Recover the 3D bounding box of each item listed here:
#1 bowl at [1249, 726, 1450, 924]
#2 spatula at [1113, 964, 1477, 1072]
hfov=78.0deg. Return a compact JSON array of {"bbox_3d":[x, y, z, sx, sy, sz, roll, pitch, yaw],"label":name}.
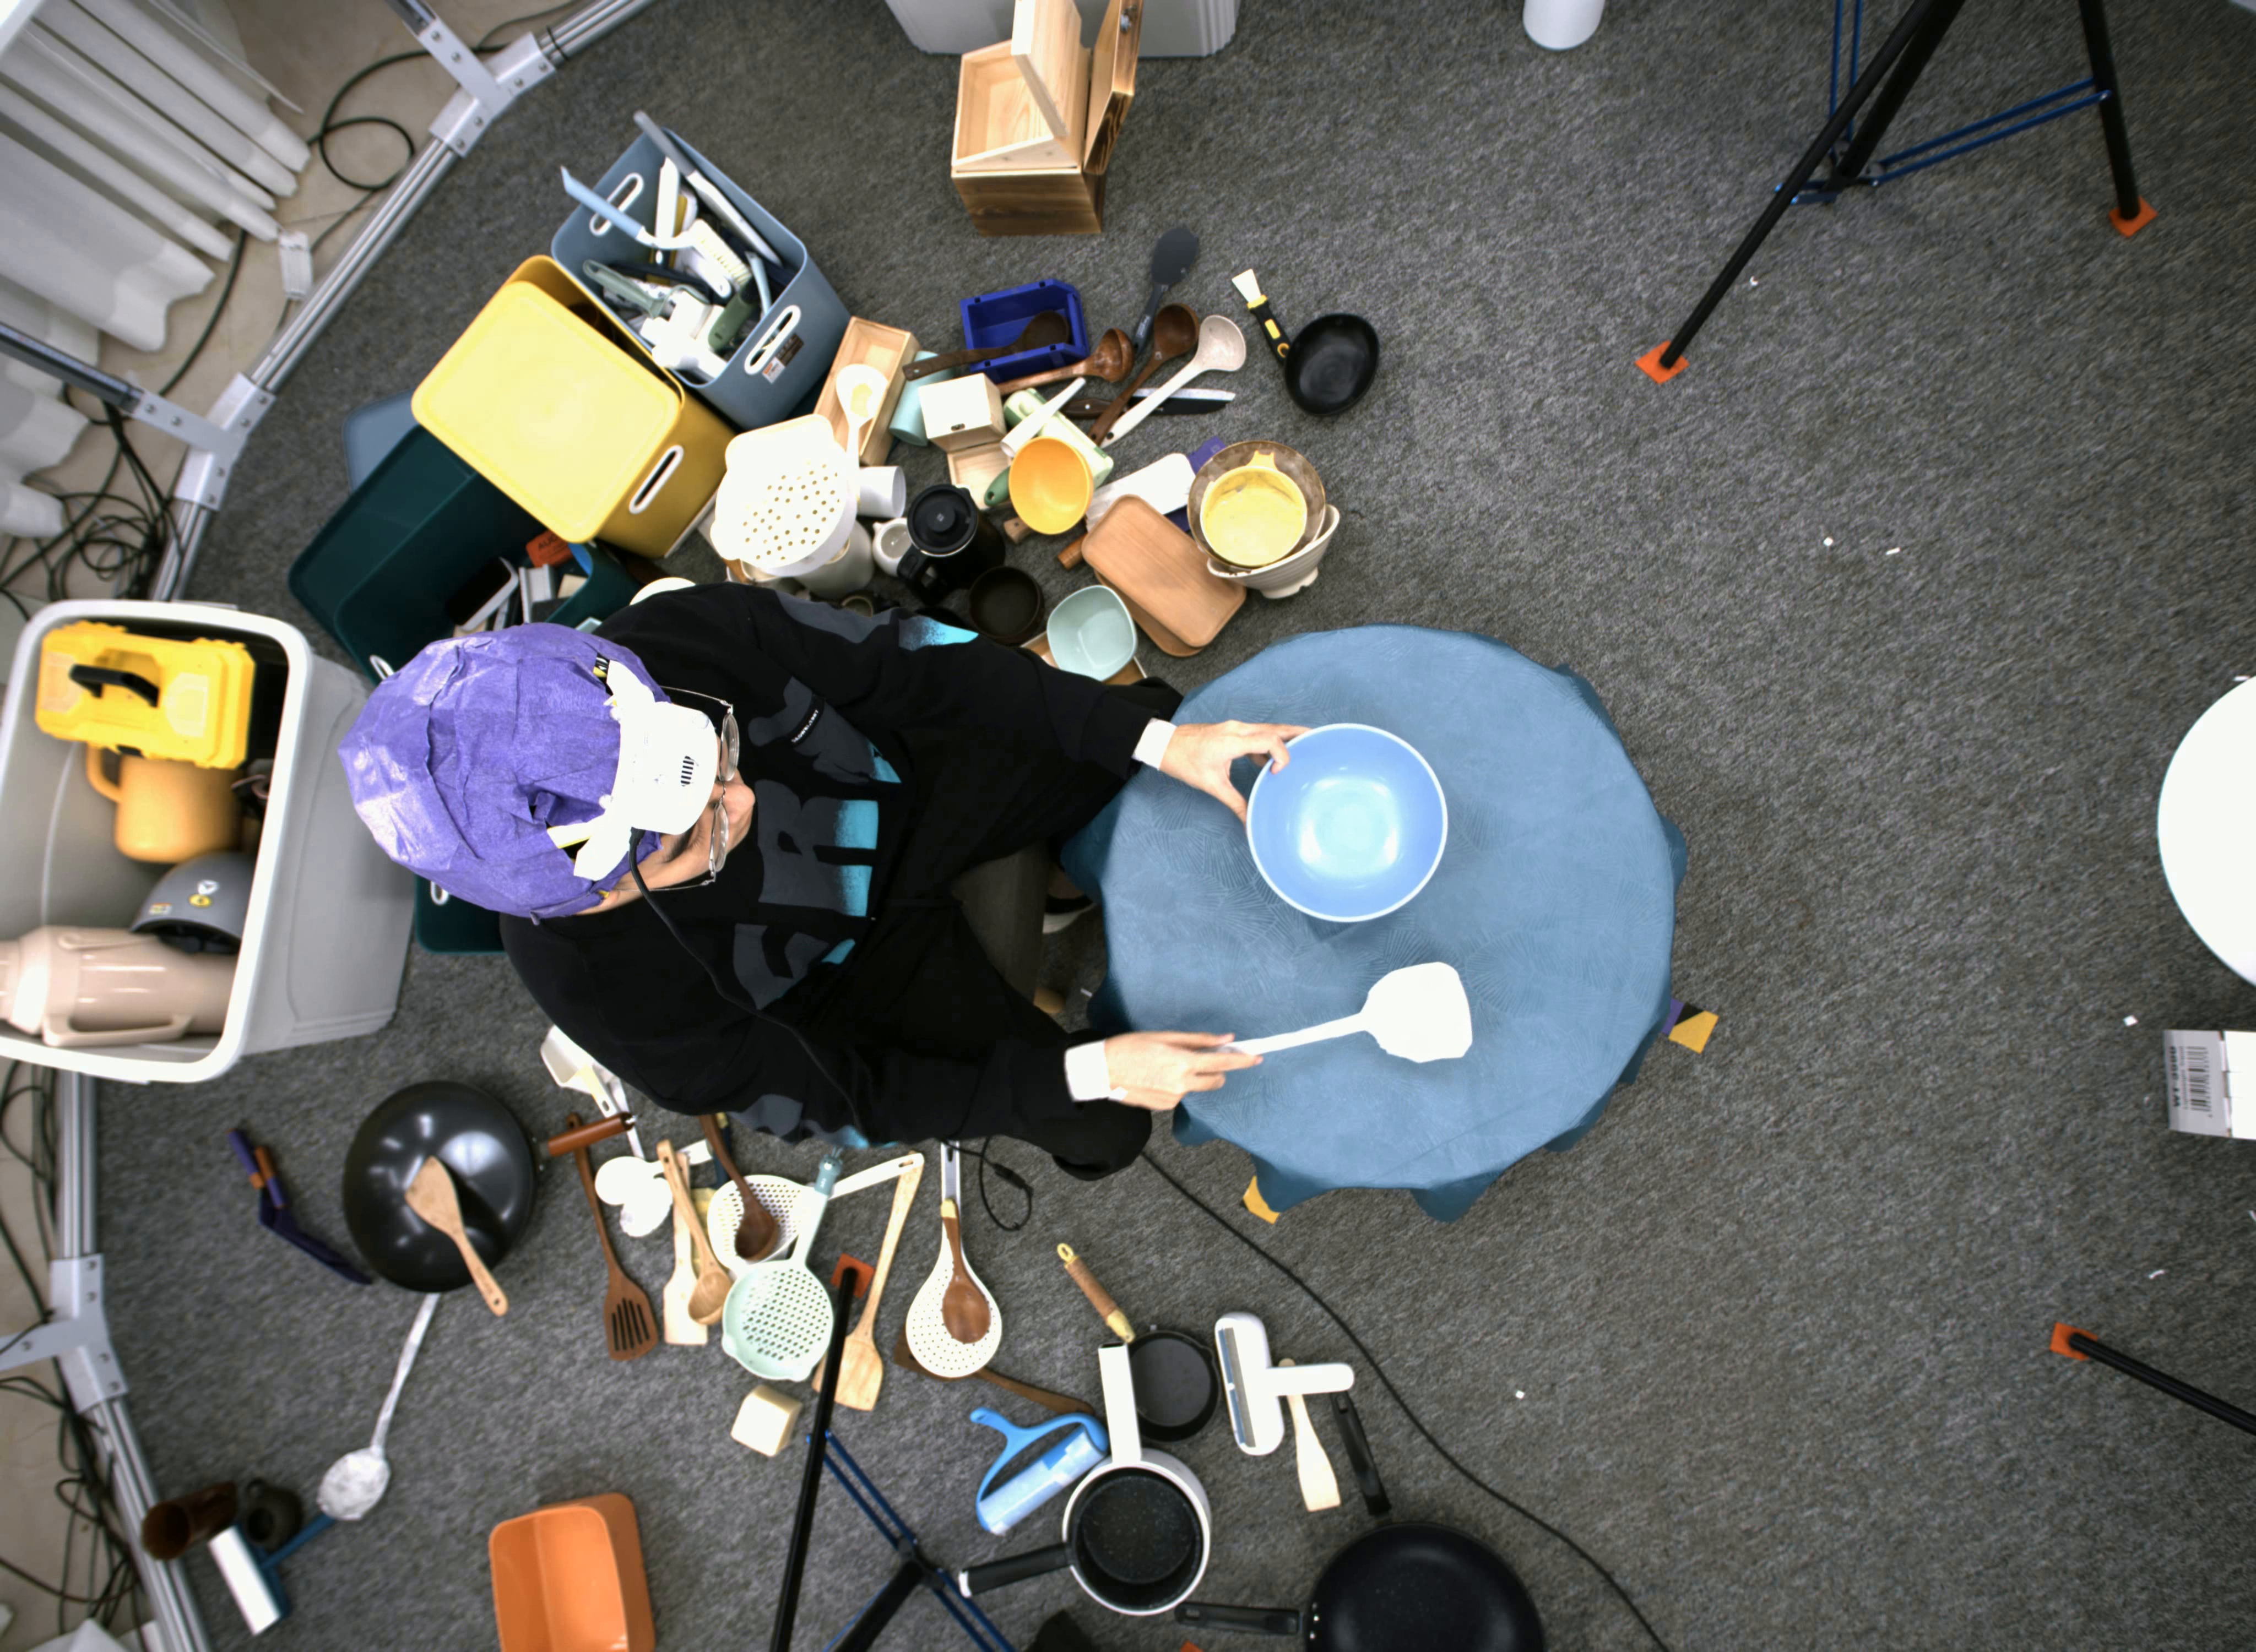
[{"bbox_3d":[0.225,0.002,1.403,0.197,0.095,0.195,-1,86,11],"label":"bowl"},{"bbox_3d":[0.164,0.211,1.391,0.366,0.044,0.099,-11,97,5],"label":"spatula"}]
